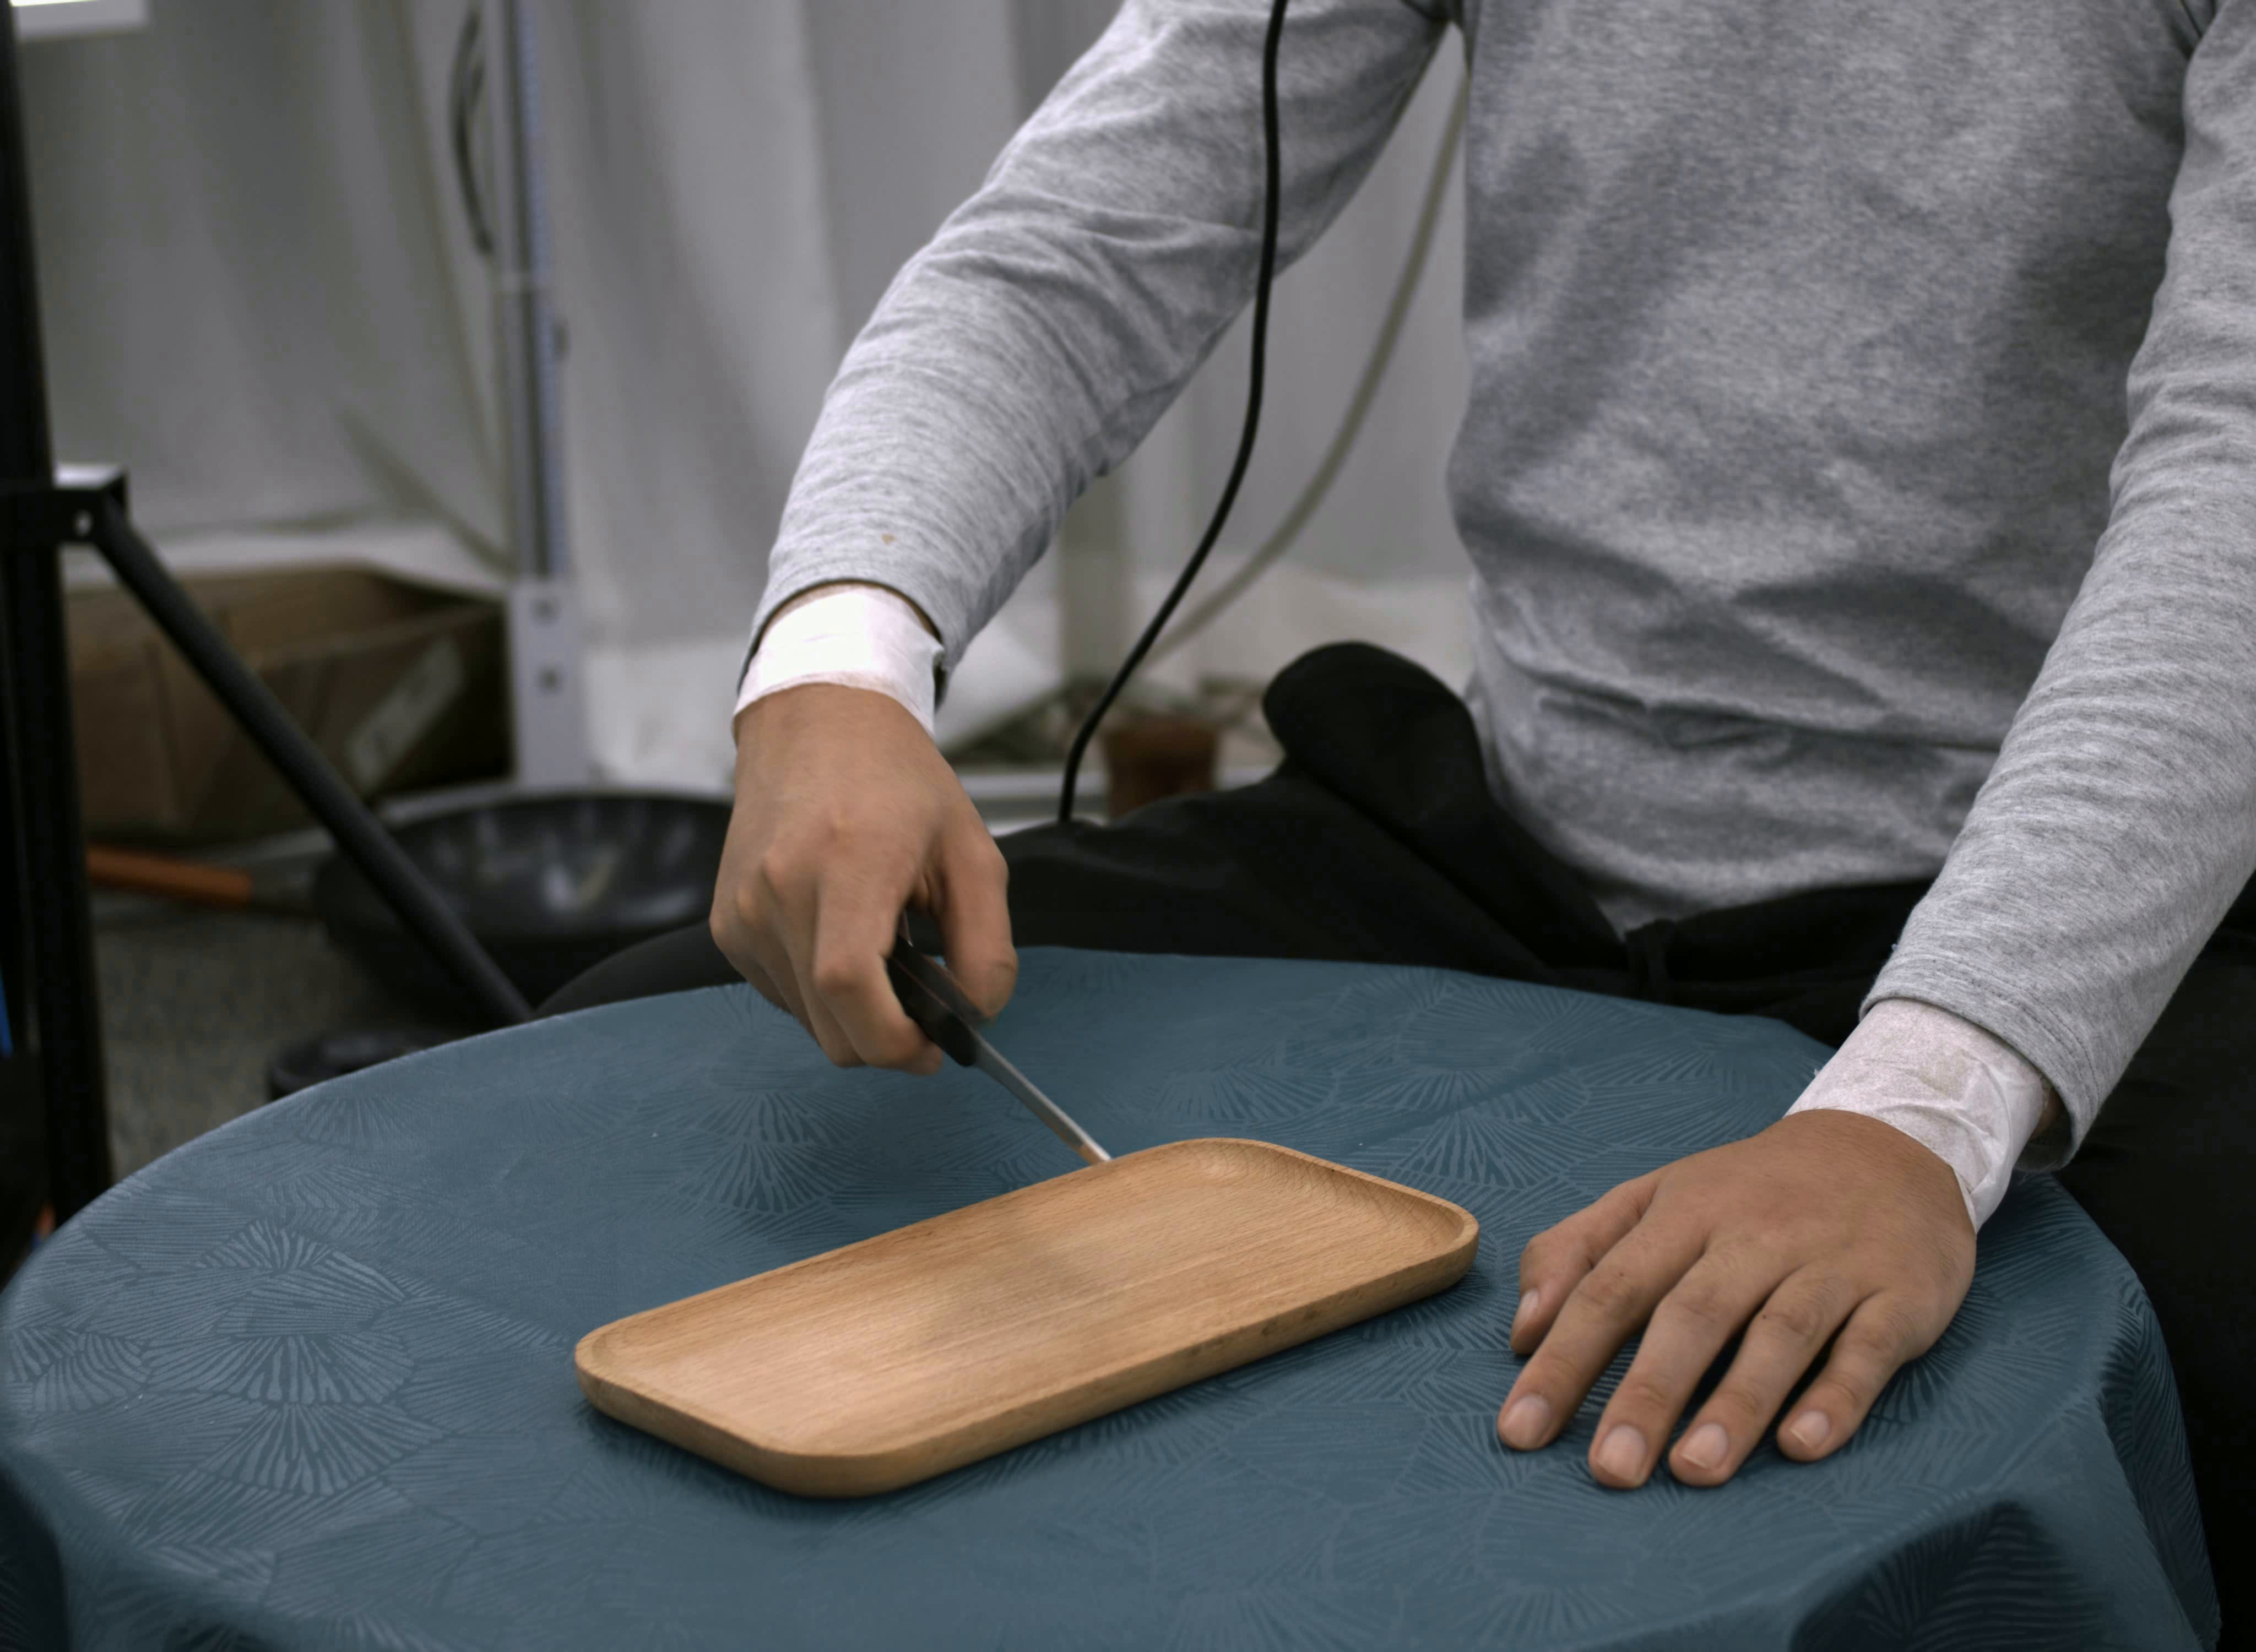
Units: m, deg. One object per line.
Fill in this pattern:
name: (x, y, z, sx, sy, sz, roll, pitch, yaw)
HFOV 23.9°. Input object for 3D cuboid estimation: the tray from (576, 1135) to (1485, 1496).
tray: (-0.023, 0.131, 1.452, 0.245, 0.023, 0.133, -14, 22, -37)

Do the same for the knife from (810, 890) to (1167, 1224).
knife: (-0.042, 0.064, 1.525, 0.016, 0.024, 0.243, -37, 31, -9)
